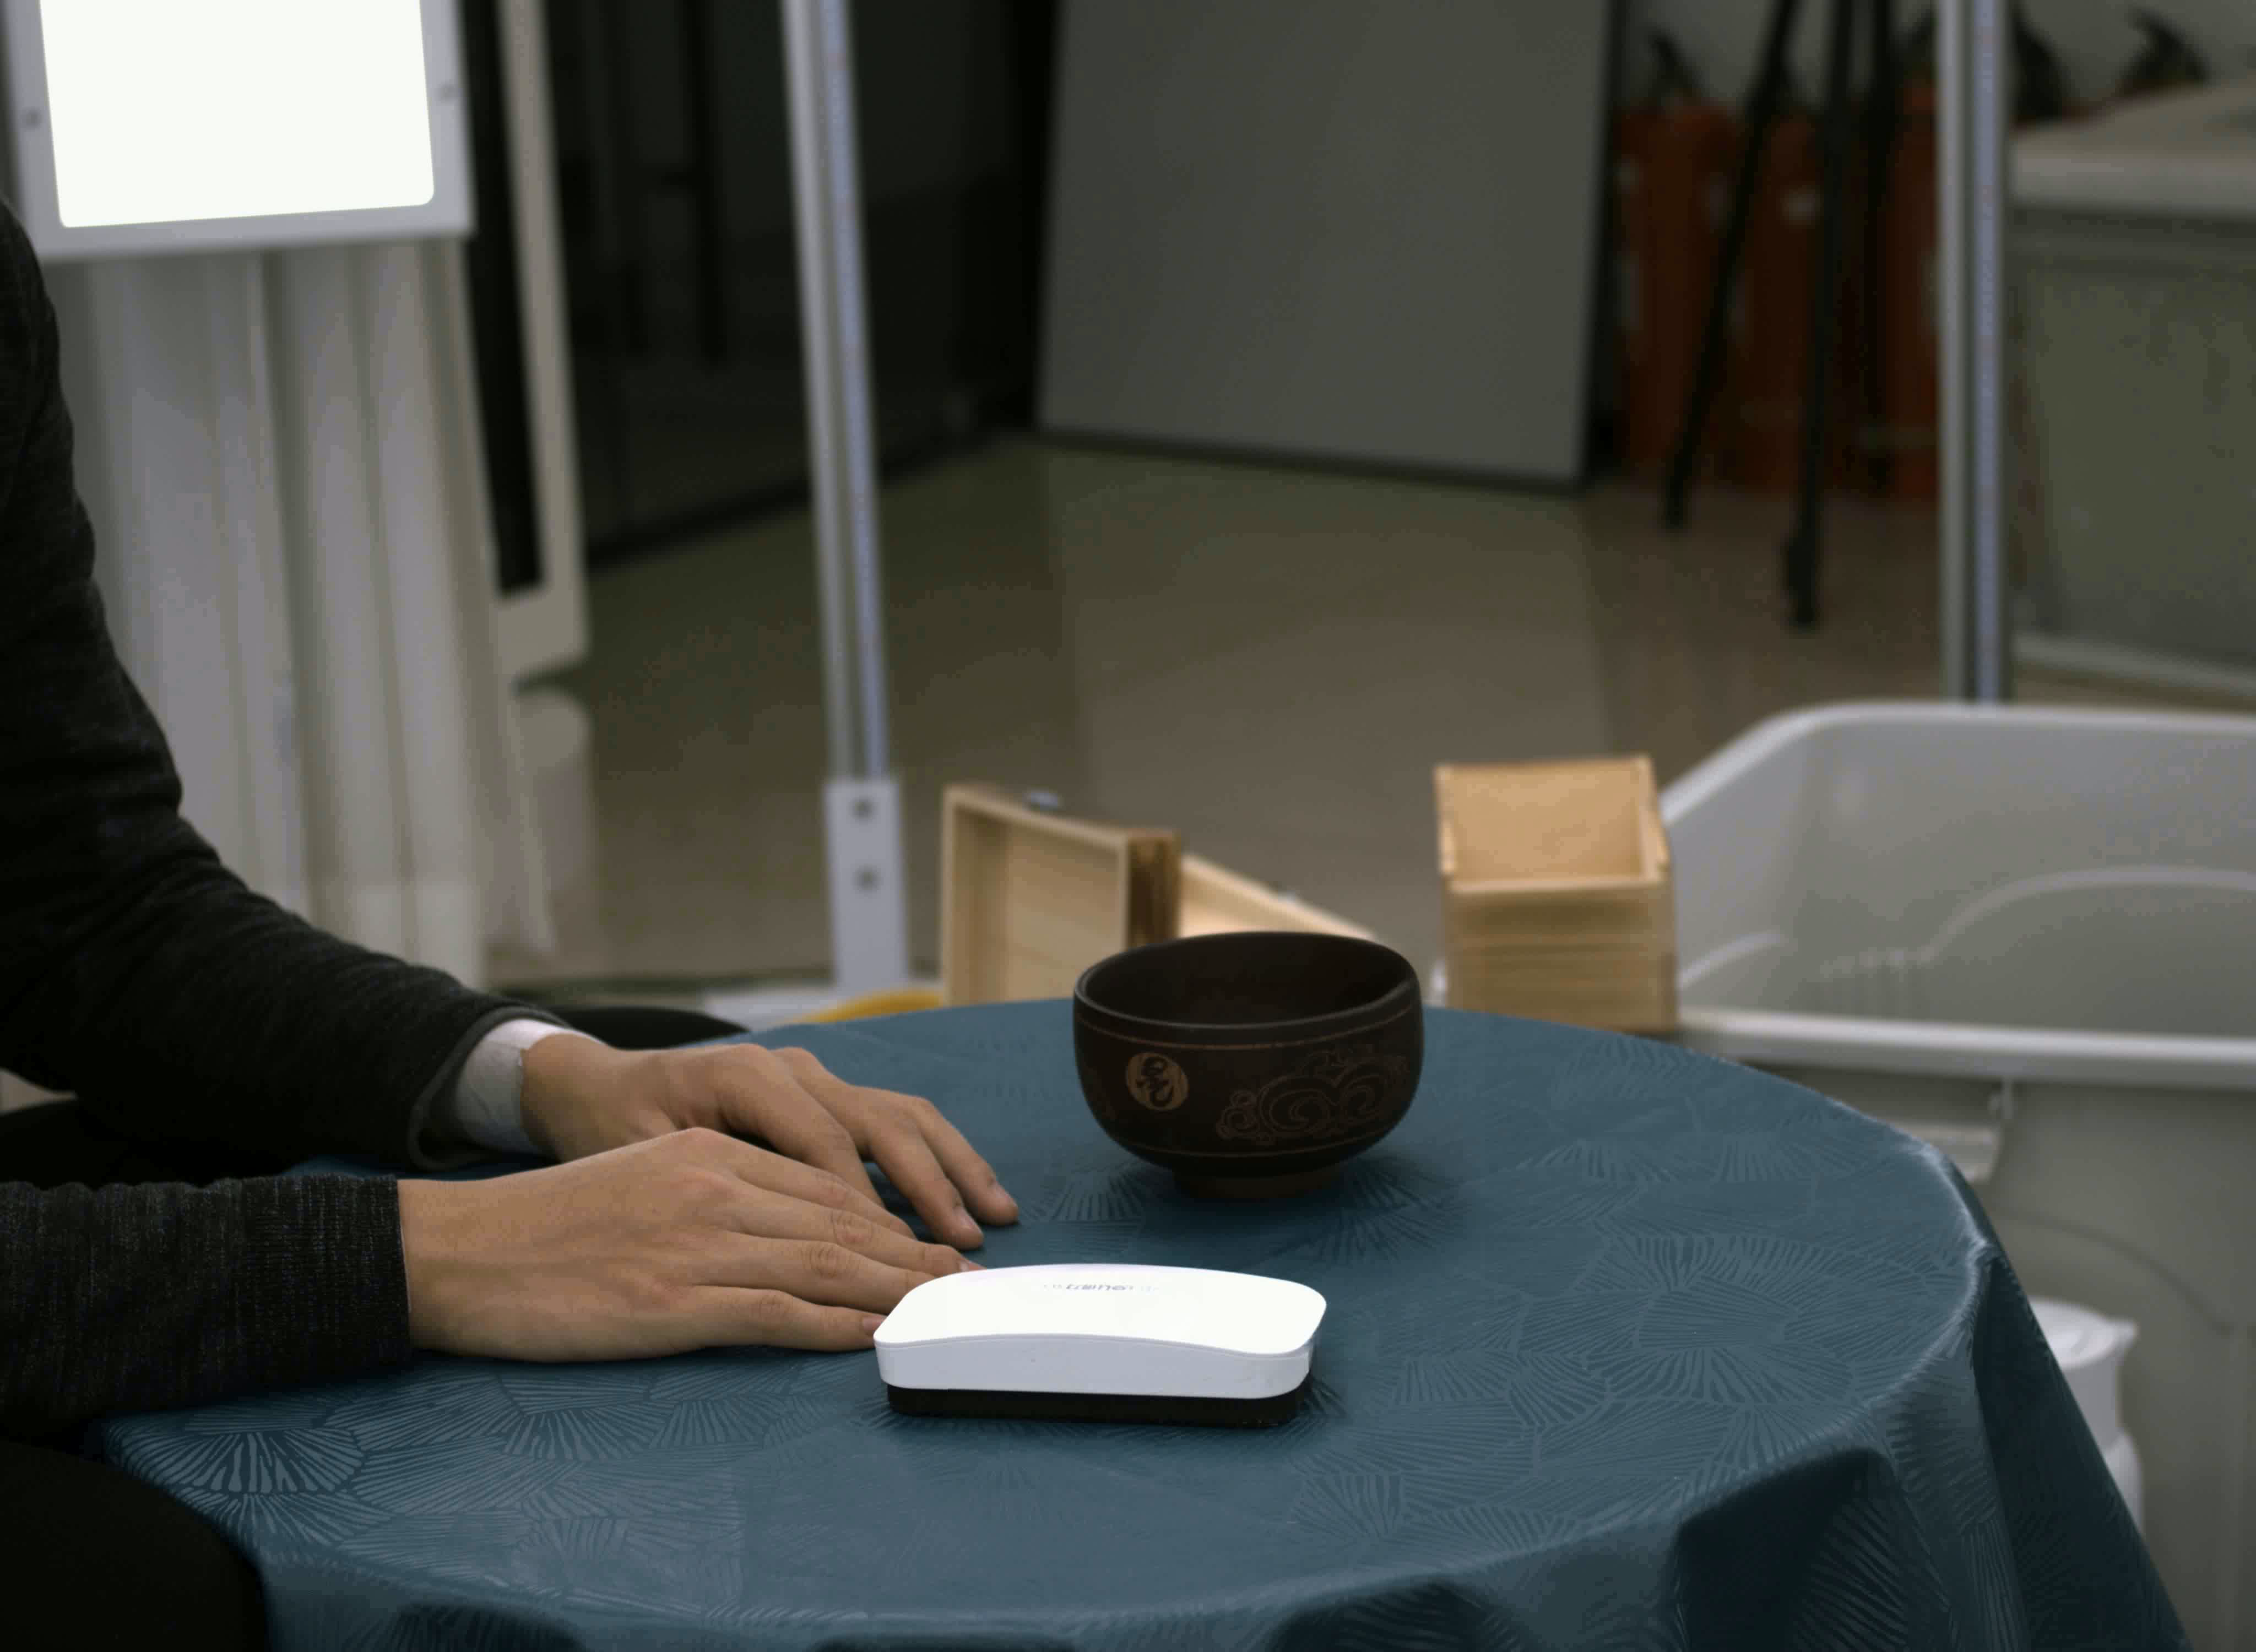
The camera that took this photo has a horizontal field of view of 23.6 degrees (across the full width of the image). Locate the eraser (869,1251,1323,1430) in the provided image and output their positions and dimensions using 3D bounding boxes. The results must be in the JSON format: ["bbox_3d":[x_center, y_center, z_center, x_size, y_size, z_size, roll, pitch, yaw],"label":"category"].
[{"bbox_3d":[-0.009,0.151,1.583,0.131,0.035,0.063,1,14,16],"label":"eraser"}]

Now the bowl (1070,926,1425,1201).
[{"bbox_3d":[0.040,0.081,1.769,0.116,0.070,0.118,-5,14,0],"label":"bowl"}]
